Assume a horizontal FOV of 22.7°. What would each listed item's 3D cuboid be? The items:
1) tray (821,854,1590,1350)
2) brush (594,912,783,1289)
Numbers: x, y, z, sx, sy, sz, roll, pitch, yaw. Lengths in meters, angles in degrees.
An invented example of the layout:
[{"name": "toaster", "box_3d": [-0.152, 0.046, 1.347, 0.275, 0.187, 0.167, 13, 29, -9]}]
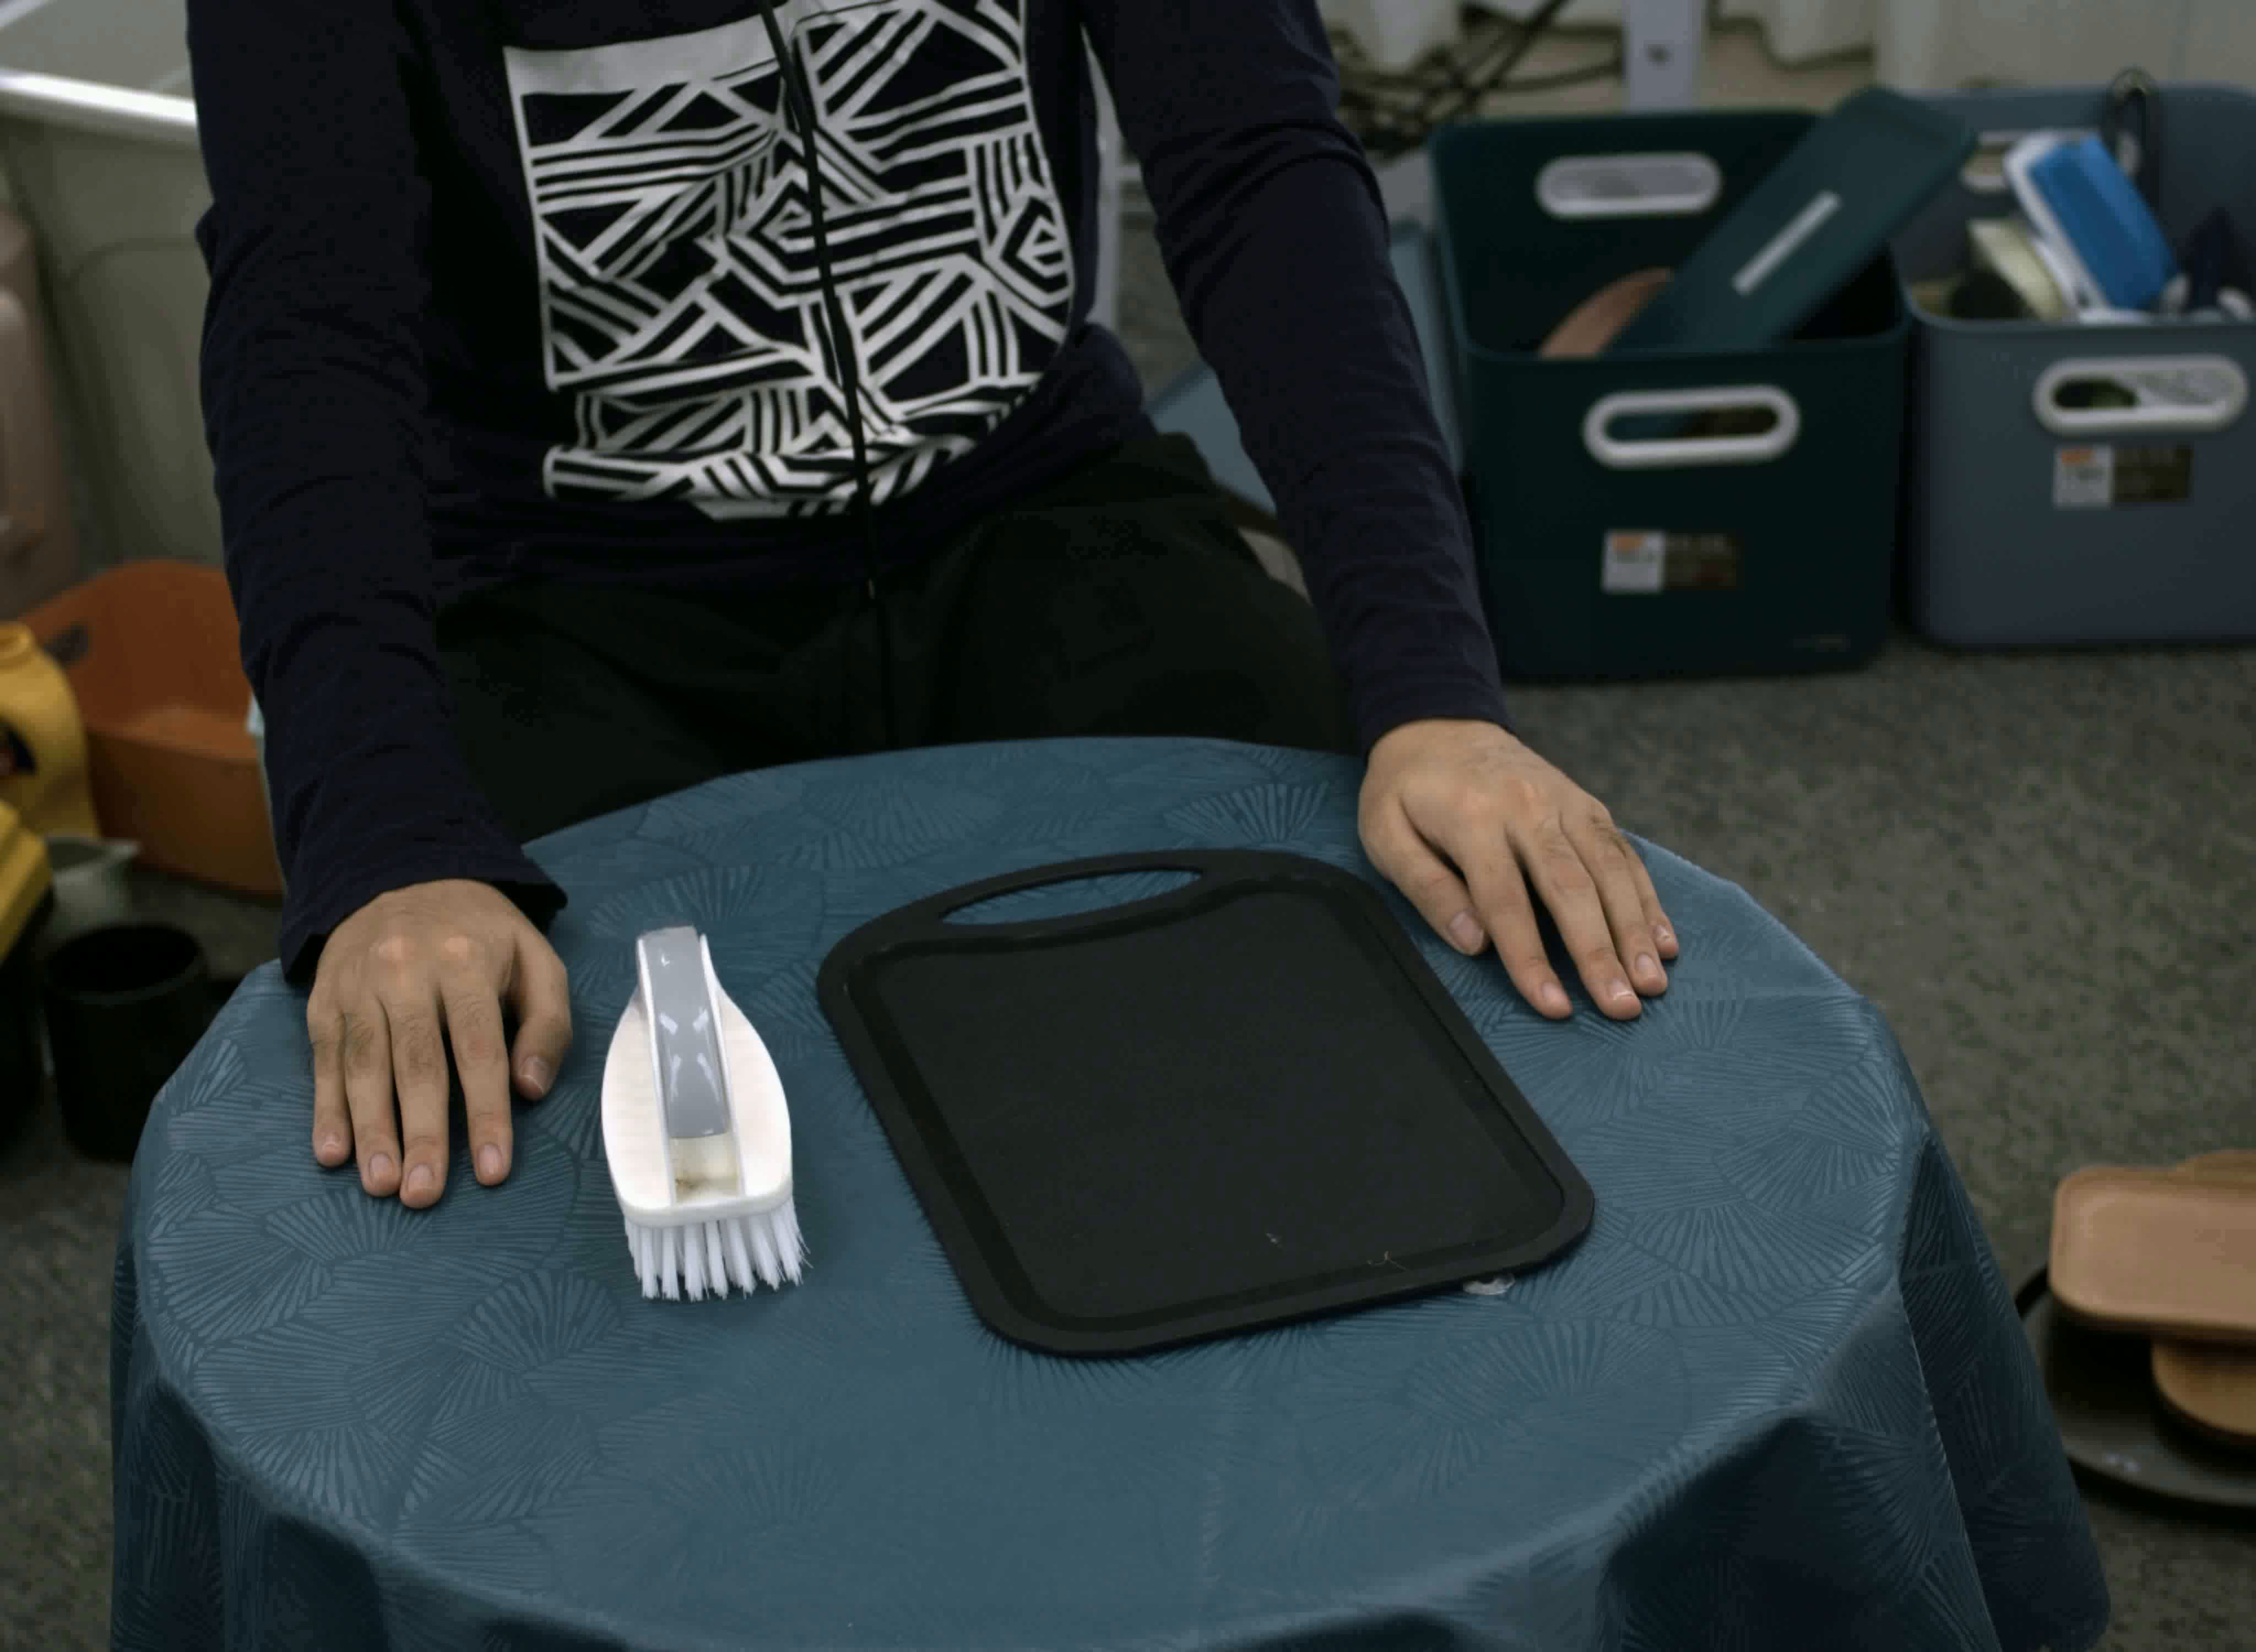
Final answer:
[{"name": "tray", "box_3d": [0.017, 0.085, 1.921, 0.211, 0.009, 0.328, -10, 27, -13]}, {"name": "brush", "box_3d": [-0.149, 0.076, 1.865, 0.061, 0.093, 0.177, -5, 25, -6]}]
